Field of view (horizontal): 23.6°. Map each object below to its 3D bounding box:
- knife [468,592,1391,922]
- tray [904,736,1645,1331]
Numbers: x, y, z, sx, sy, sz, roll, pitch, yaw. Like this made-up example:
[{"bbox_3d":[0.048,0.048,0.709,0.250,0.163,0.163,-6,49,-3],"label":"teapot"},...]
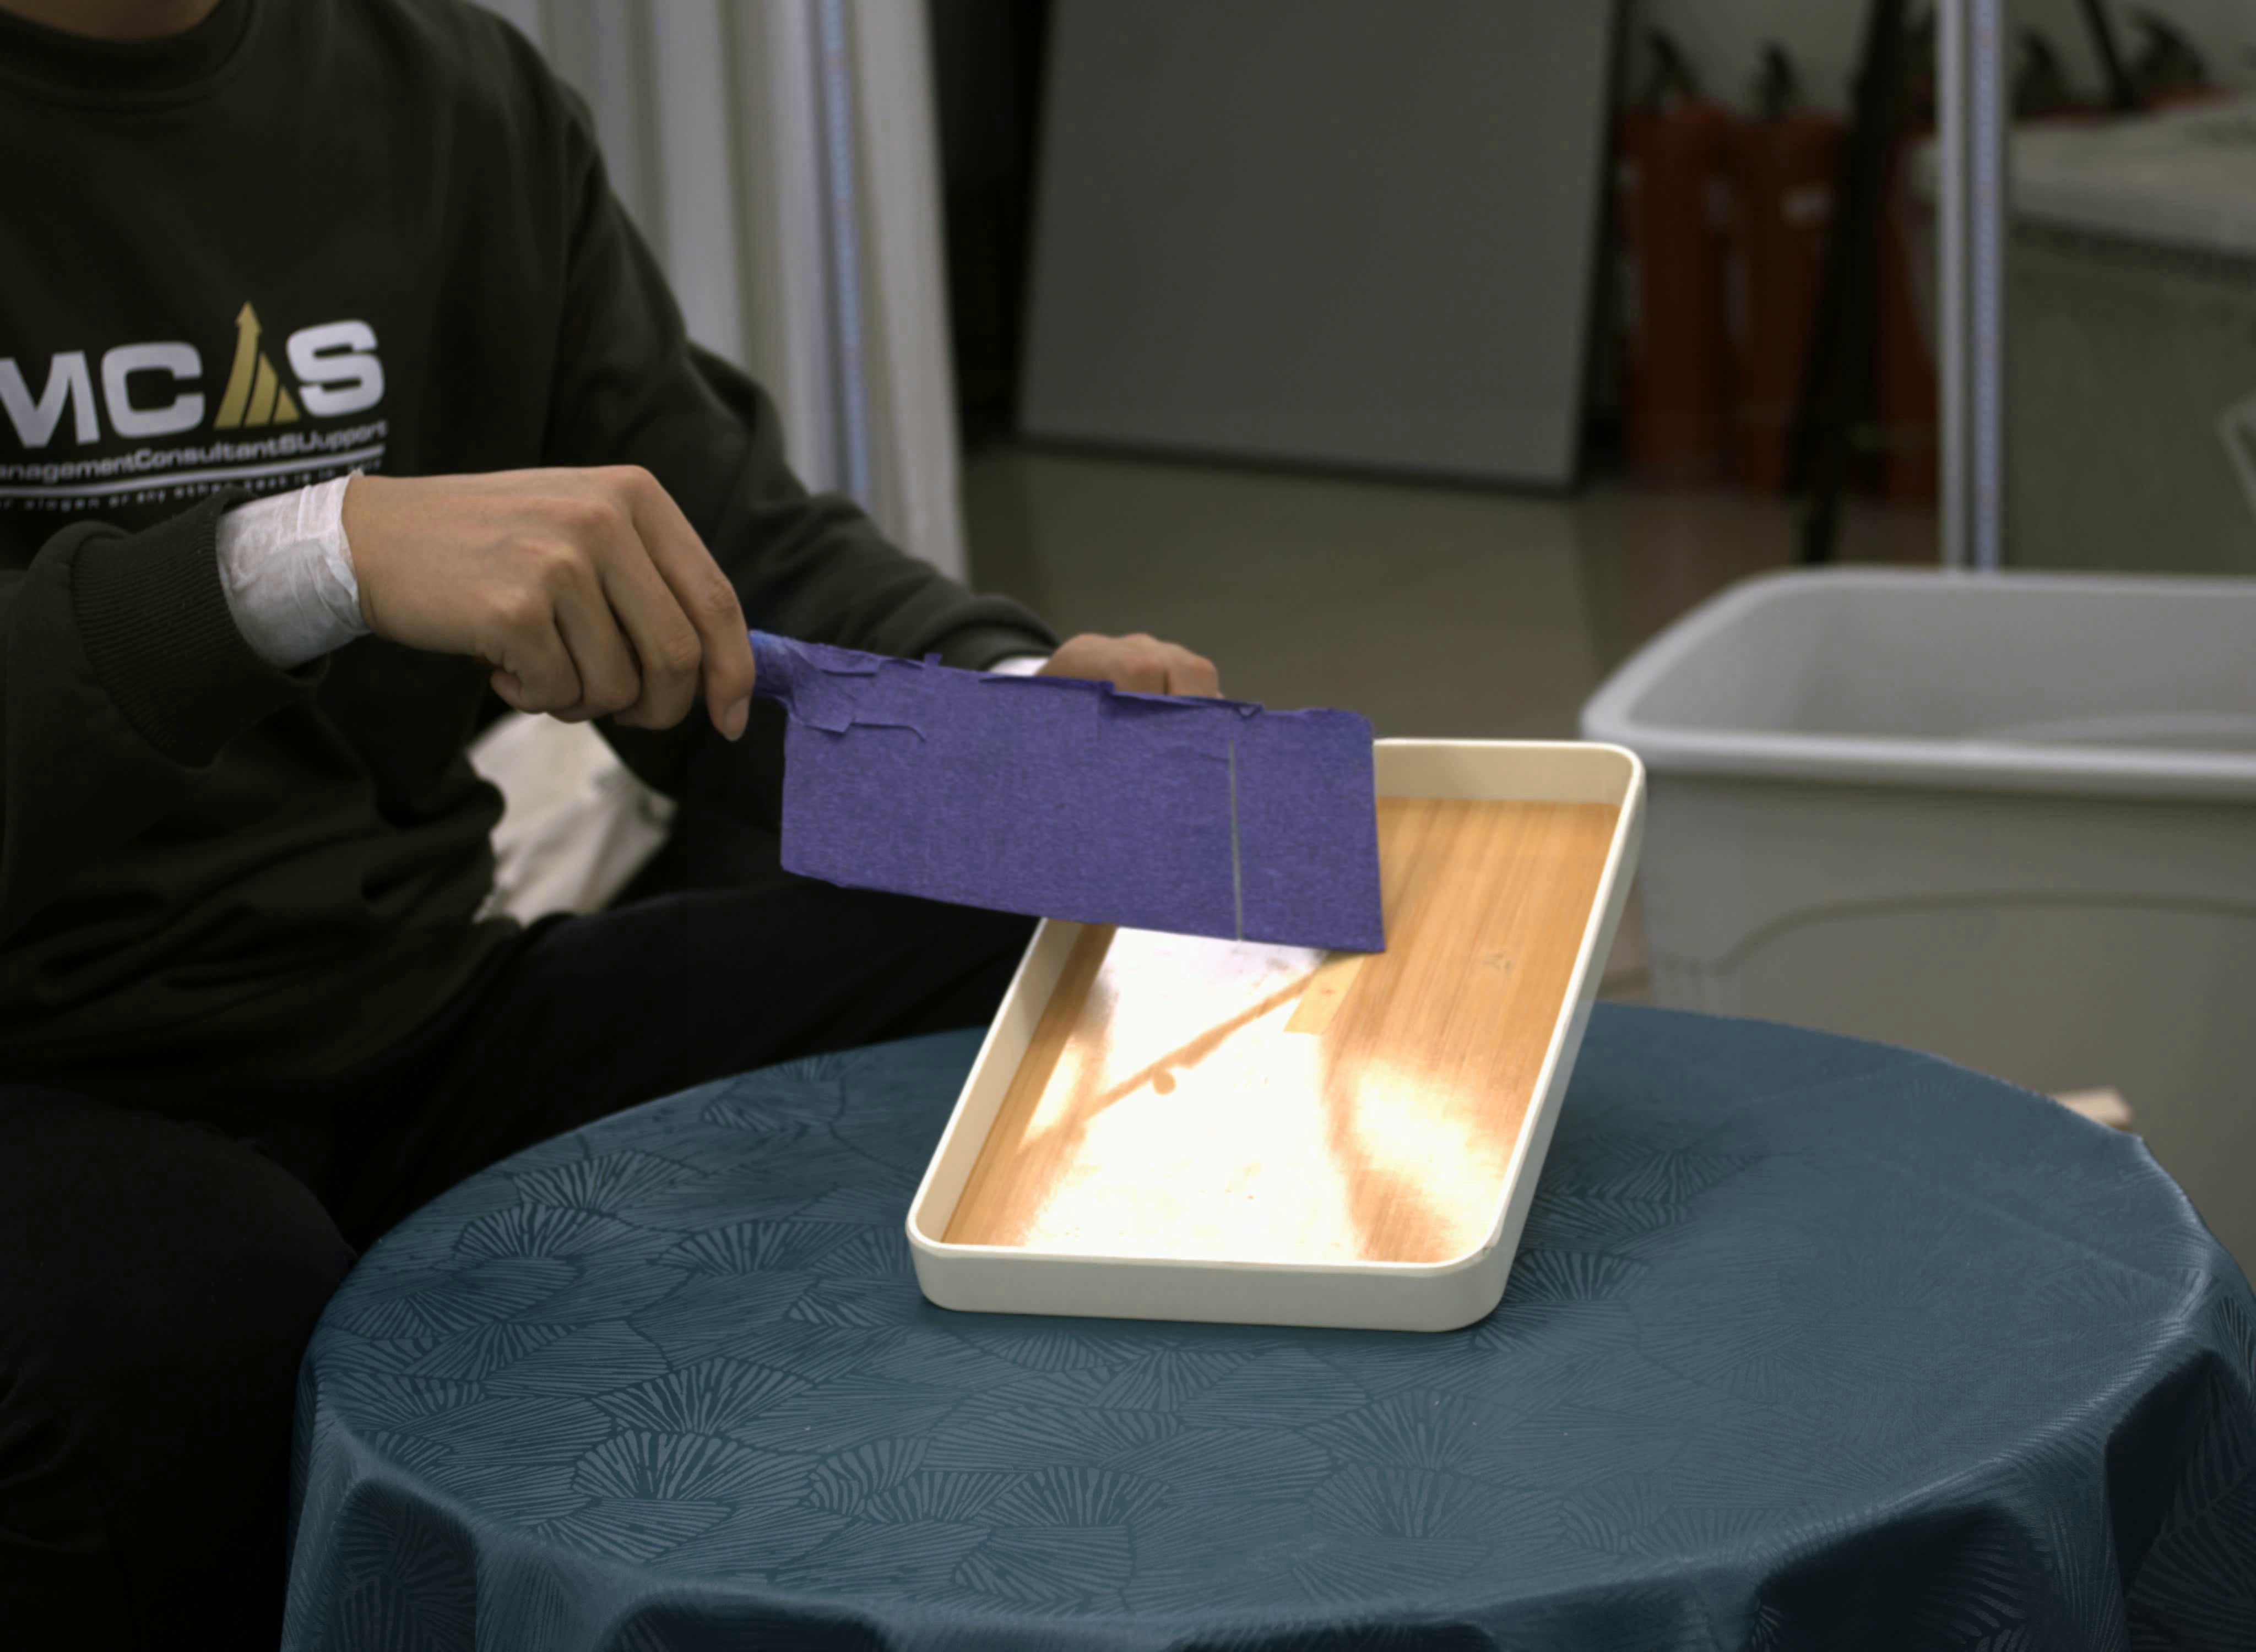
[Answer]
[{"bbox_3d":[-0.062,-0.021,1.781,0.309,0.105,0.032,6,-31,-10],"label":"knife"},{"bbox_3d":[0.054,0.061,1.755,0.191,0.027,0.299,-1,33,18],"label":"tray"}]
